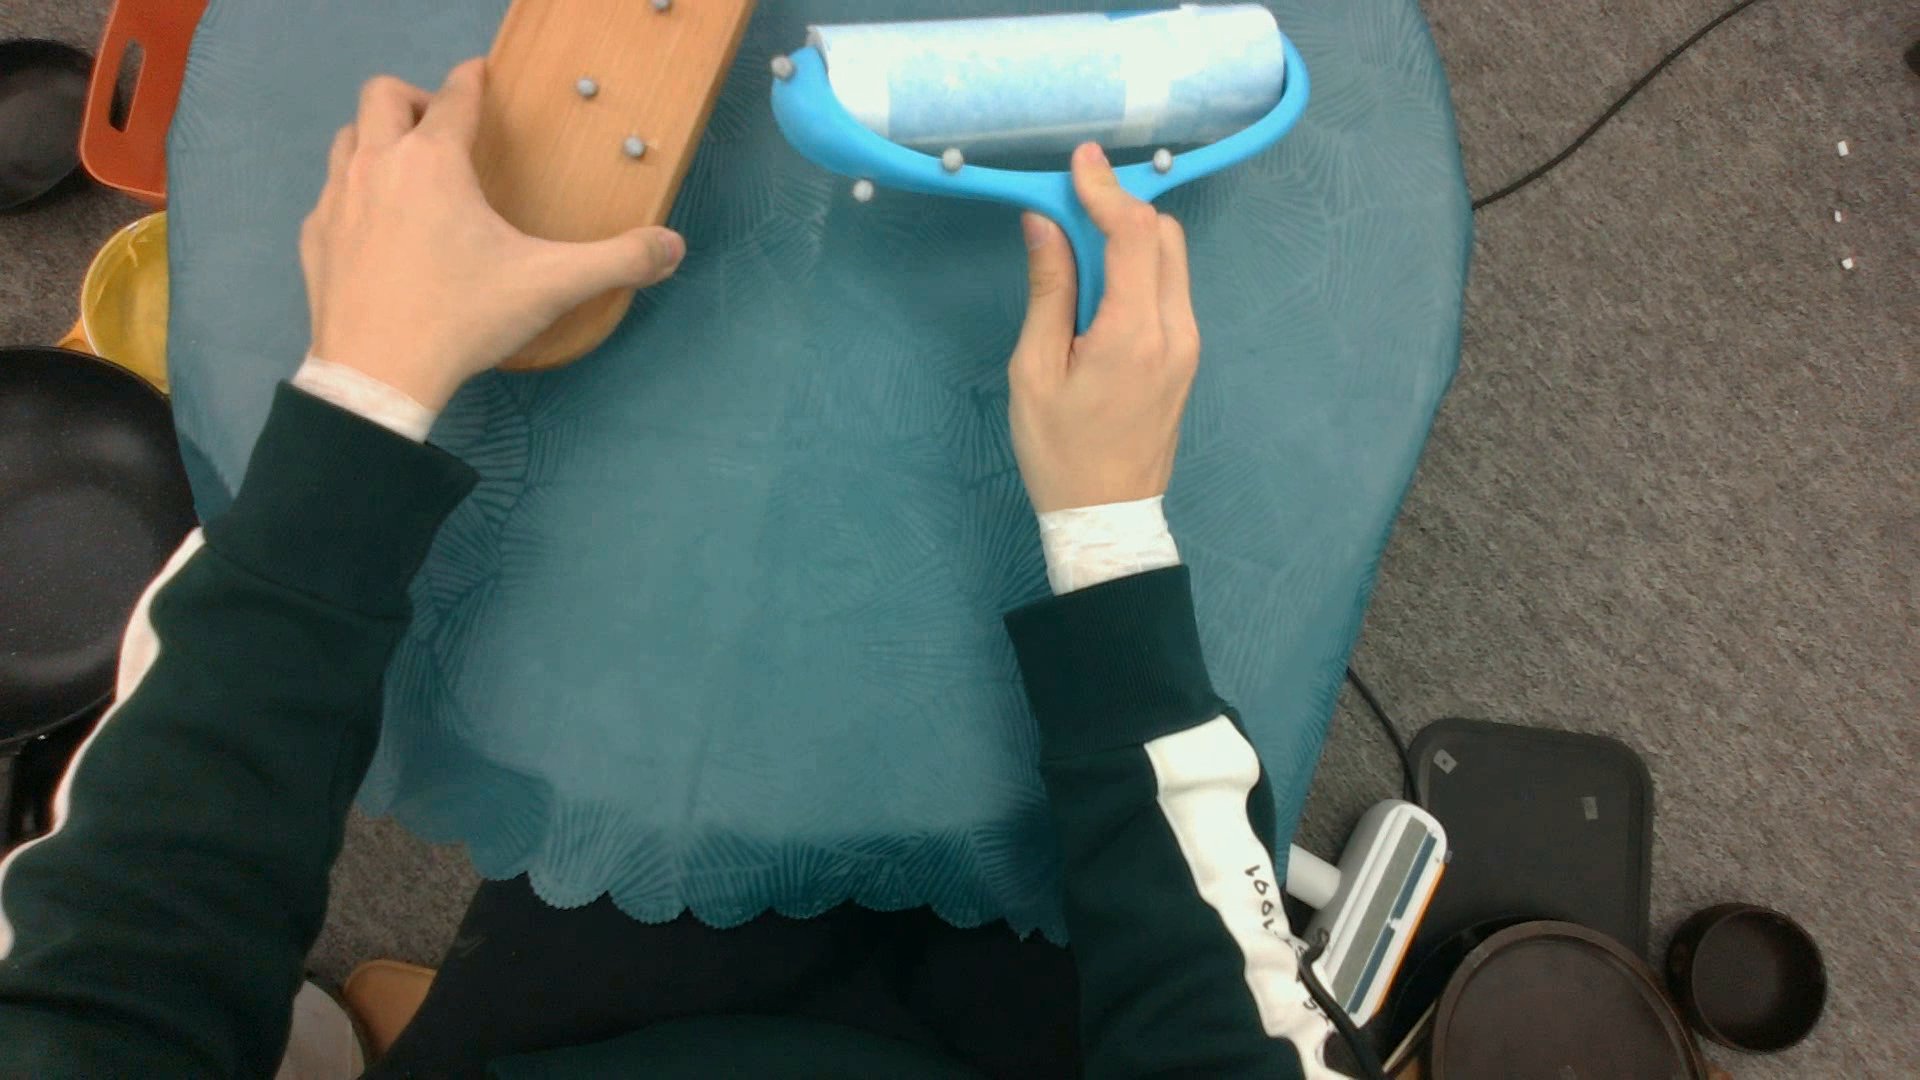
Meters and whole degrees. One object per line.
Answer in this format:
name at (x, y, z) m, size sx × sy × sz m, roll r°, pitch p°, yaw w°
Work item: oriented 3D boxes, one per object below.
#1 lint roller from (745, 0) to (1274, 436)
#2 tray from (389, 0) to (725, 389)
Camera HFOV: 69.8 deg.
lint roller at (0.039, -0.137, 0.574) m, size 0.229 × 0.068 × 0.180 m, roll -14°, pitch 88°, yaw -18°
tray at (-0.171, -0.175, 0.590) m, size 0.101 × 0.020 × 0.231 m, roll 18°, pitch 87°, yaw 11°
